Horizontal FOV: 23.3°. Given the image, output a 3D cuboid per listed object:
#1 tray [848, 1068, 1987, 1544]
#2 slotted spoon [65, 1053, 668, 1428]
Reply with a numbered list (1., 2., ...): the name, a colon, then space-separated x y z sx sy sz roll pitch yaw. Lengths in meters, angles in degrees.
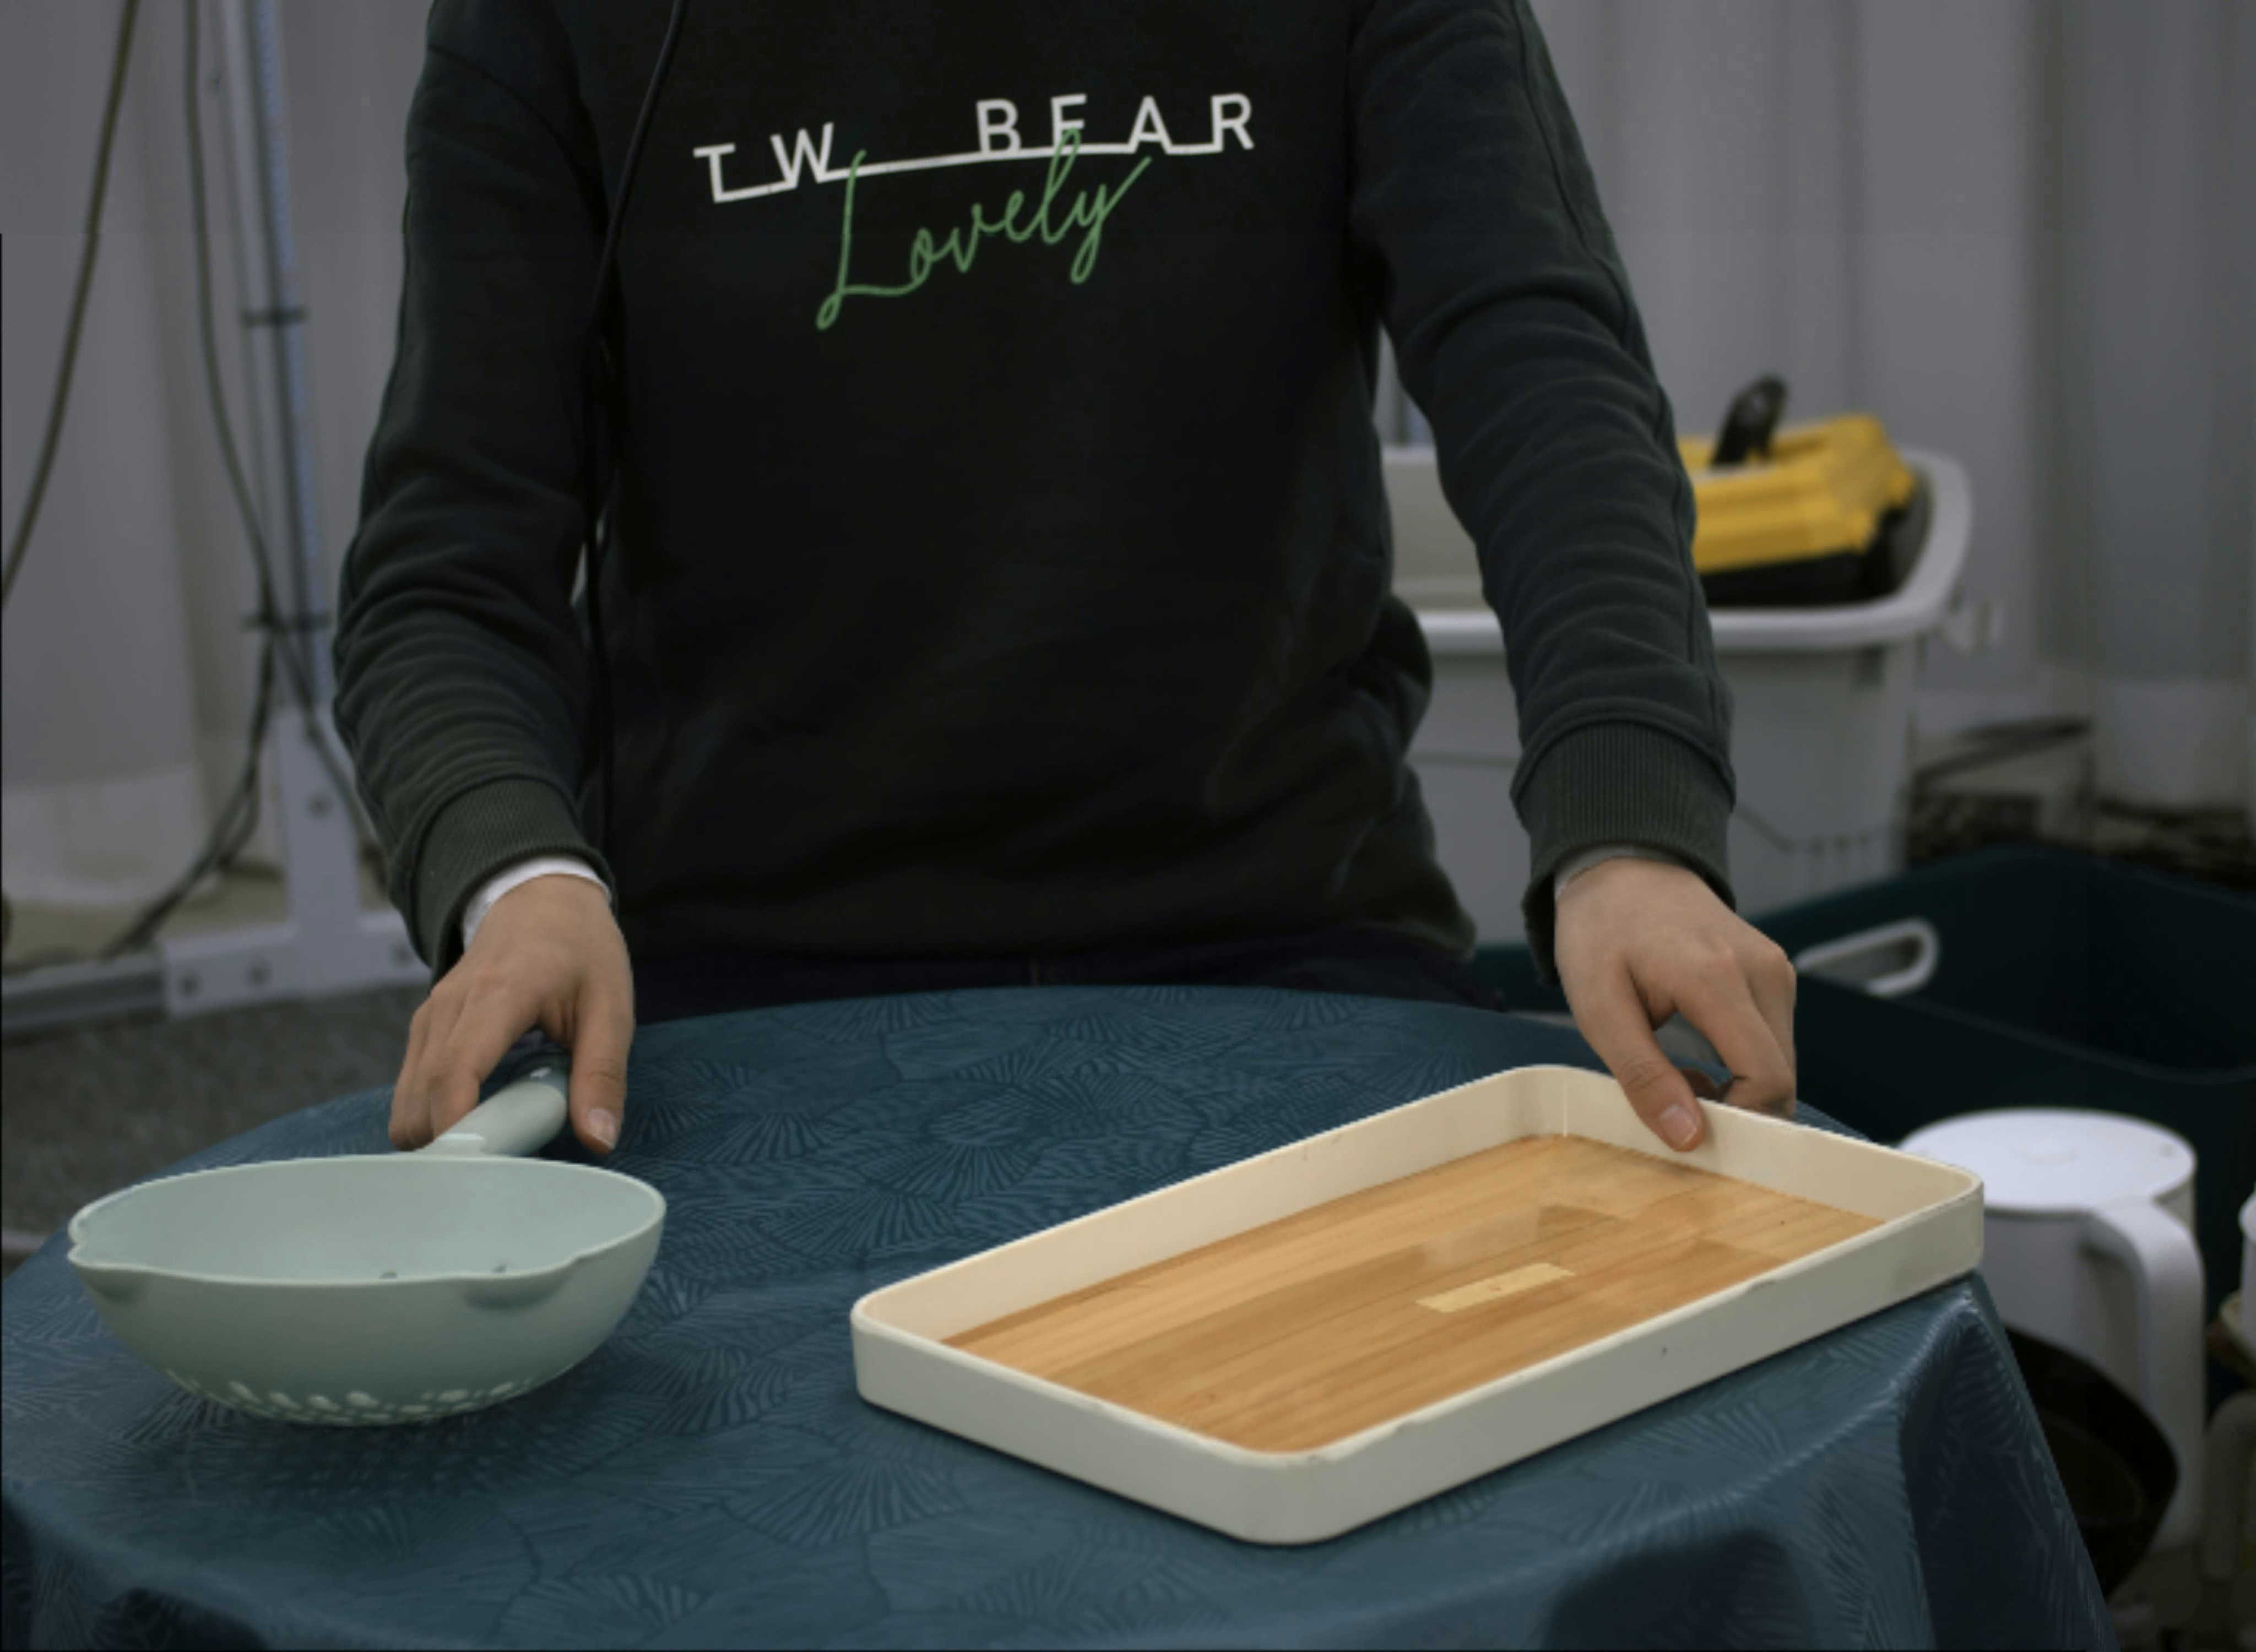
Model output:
1. tray: 0.087 0.133 1.579 0.299 0.027 0.193 -15 19 -40
2. slotted spoon: -0.202 0.109 1.647 0.169 0.075 0.361 1 16 7
